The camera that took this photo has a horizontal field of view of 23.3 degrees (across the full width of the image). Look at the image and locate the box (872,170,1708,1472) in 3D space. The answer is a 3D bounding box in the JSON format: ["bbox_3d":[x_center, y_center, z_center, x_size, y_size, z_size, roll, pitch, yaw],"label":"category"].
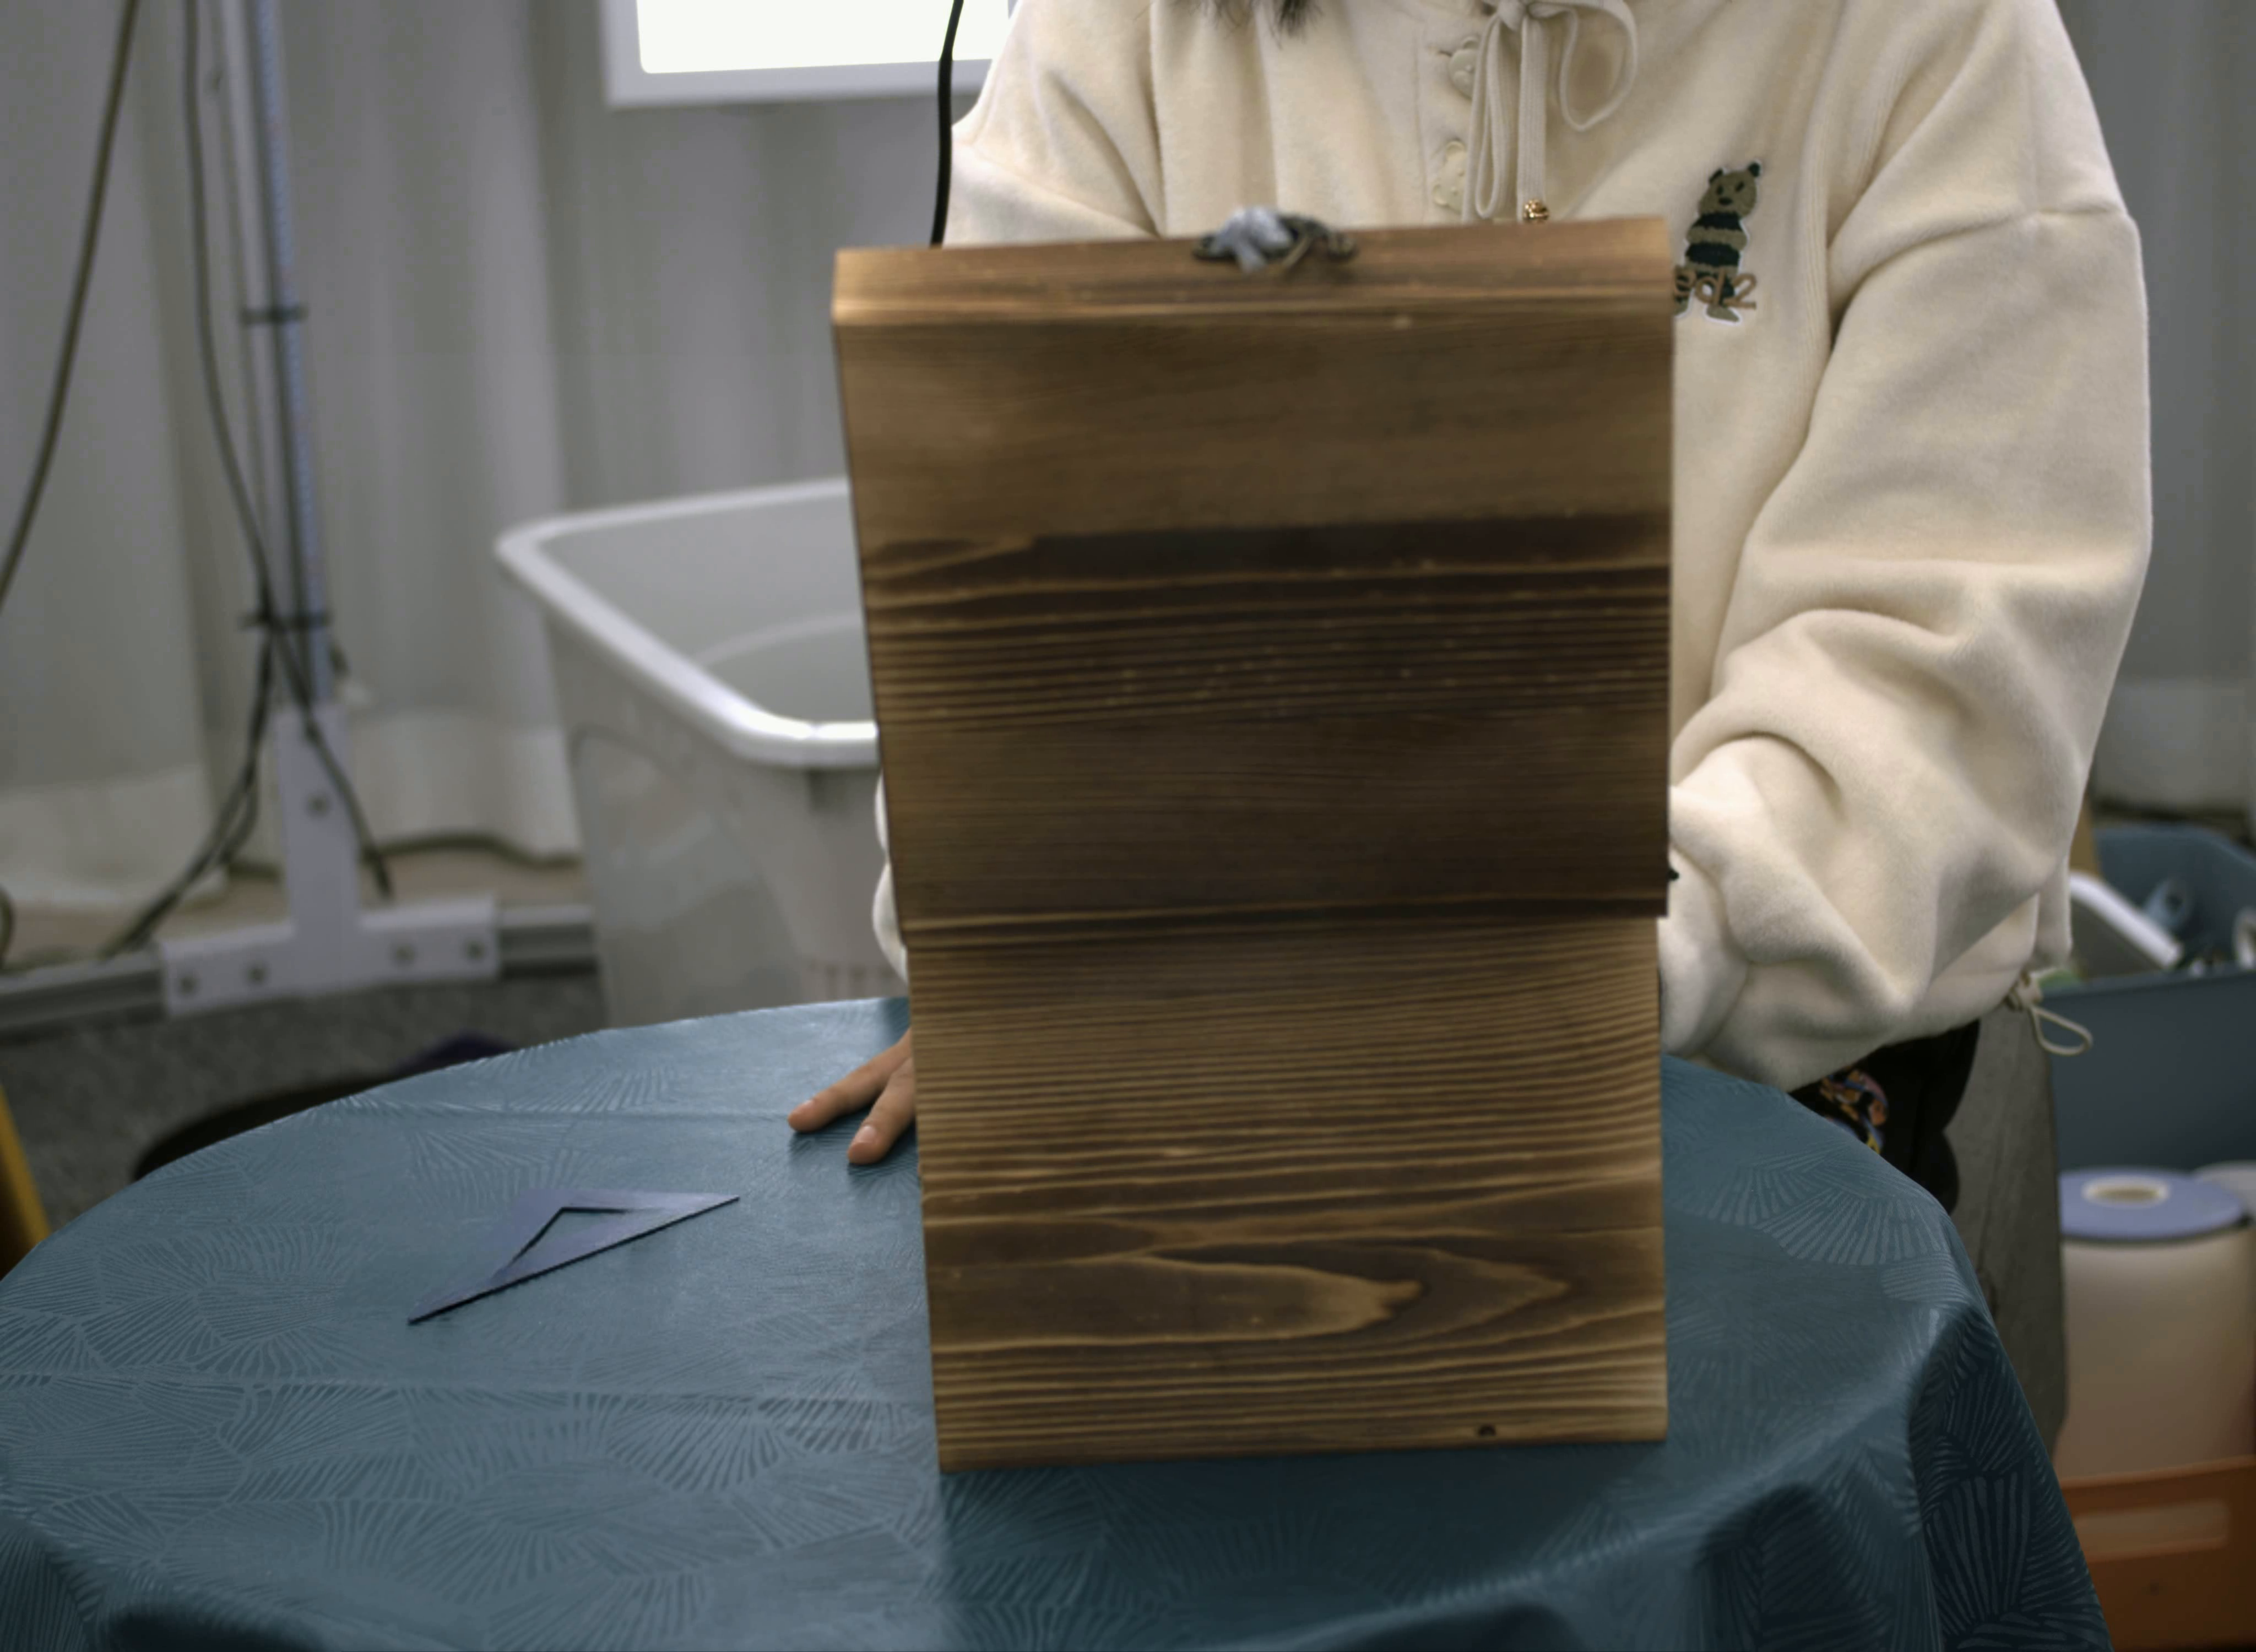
[{"bbox_3d":[0.042,-0.012,1.492,0.208,0.374,0.324,-2,15,1],"label":"box"}]

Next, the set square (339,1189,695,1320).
[{"bbox_3d":[-0.201,0.128,1.693,0.132,0.006,0.061,-16,22,-42],"label":"set square"}]
